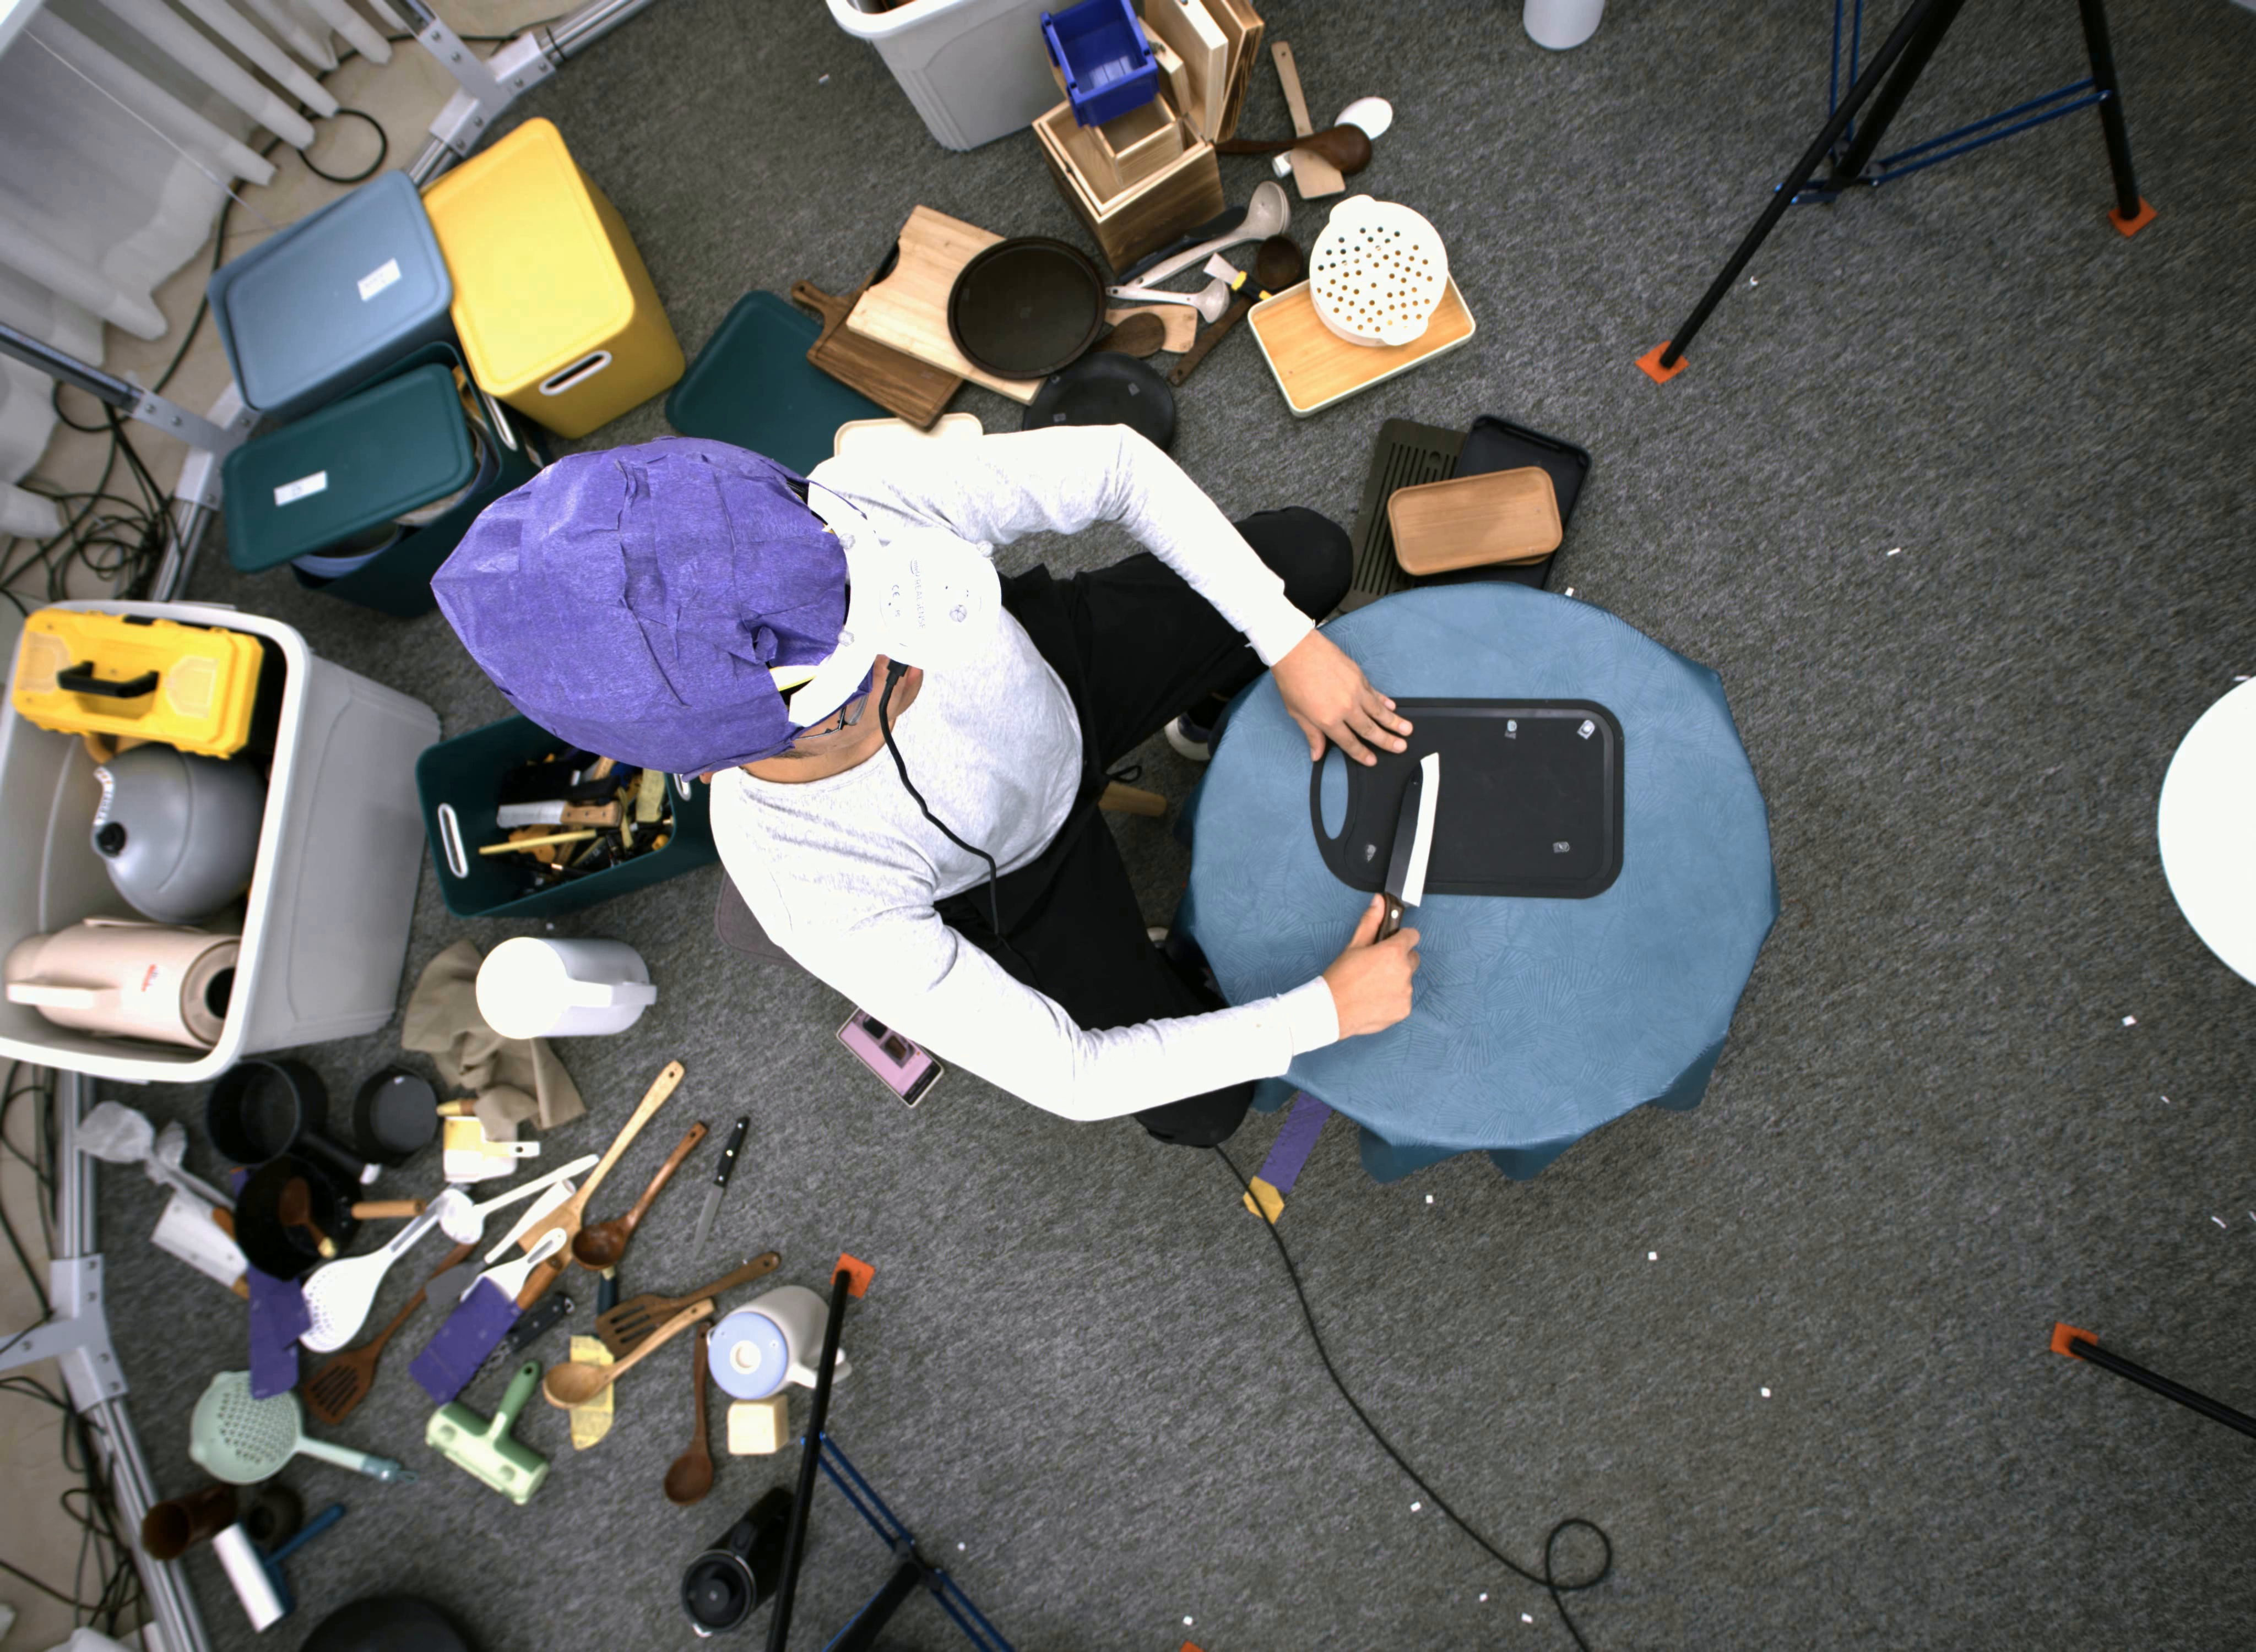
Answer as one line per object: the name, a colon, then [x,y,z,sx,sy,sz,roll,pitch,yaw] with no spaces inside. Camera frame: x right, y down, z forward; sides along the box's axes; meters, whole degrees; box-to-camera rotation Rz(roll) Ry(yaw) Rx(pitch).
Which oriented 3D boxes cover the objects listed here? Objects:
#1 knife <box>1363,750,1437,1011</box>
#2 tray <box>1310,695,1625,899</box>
knife: [0.283,0.052,1.423,0.050,0.020,0.286,20,79,-20]
tray: [0.354,-0.035,1.447,0.326,0.010,0.210,2,87,11]
